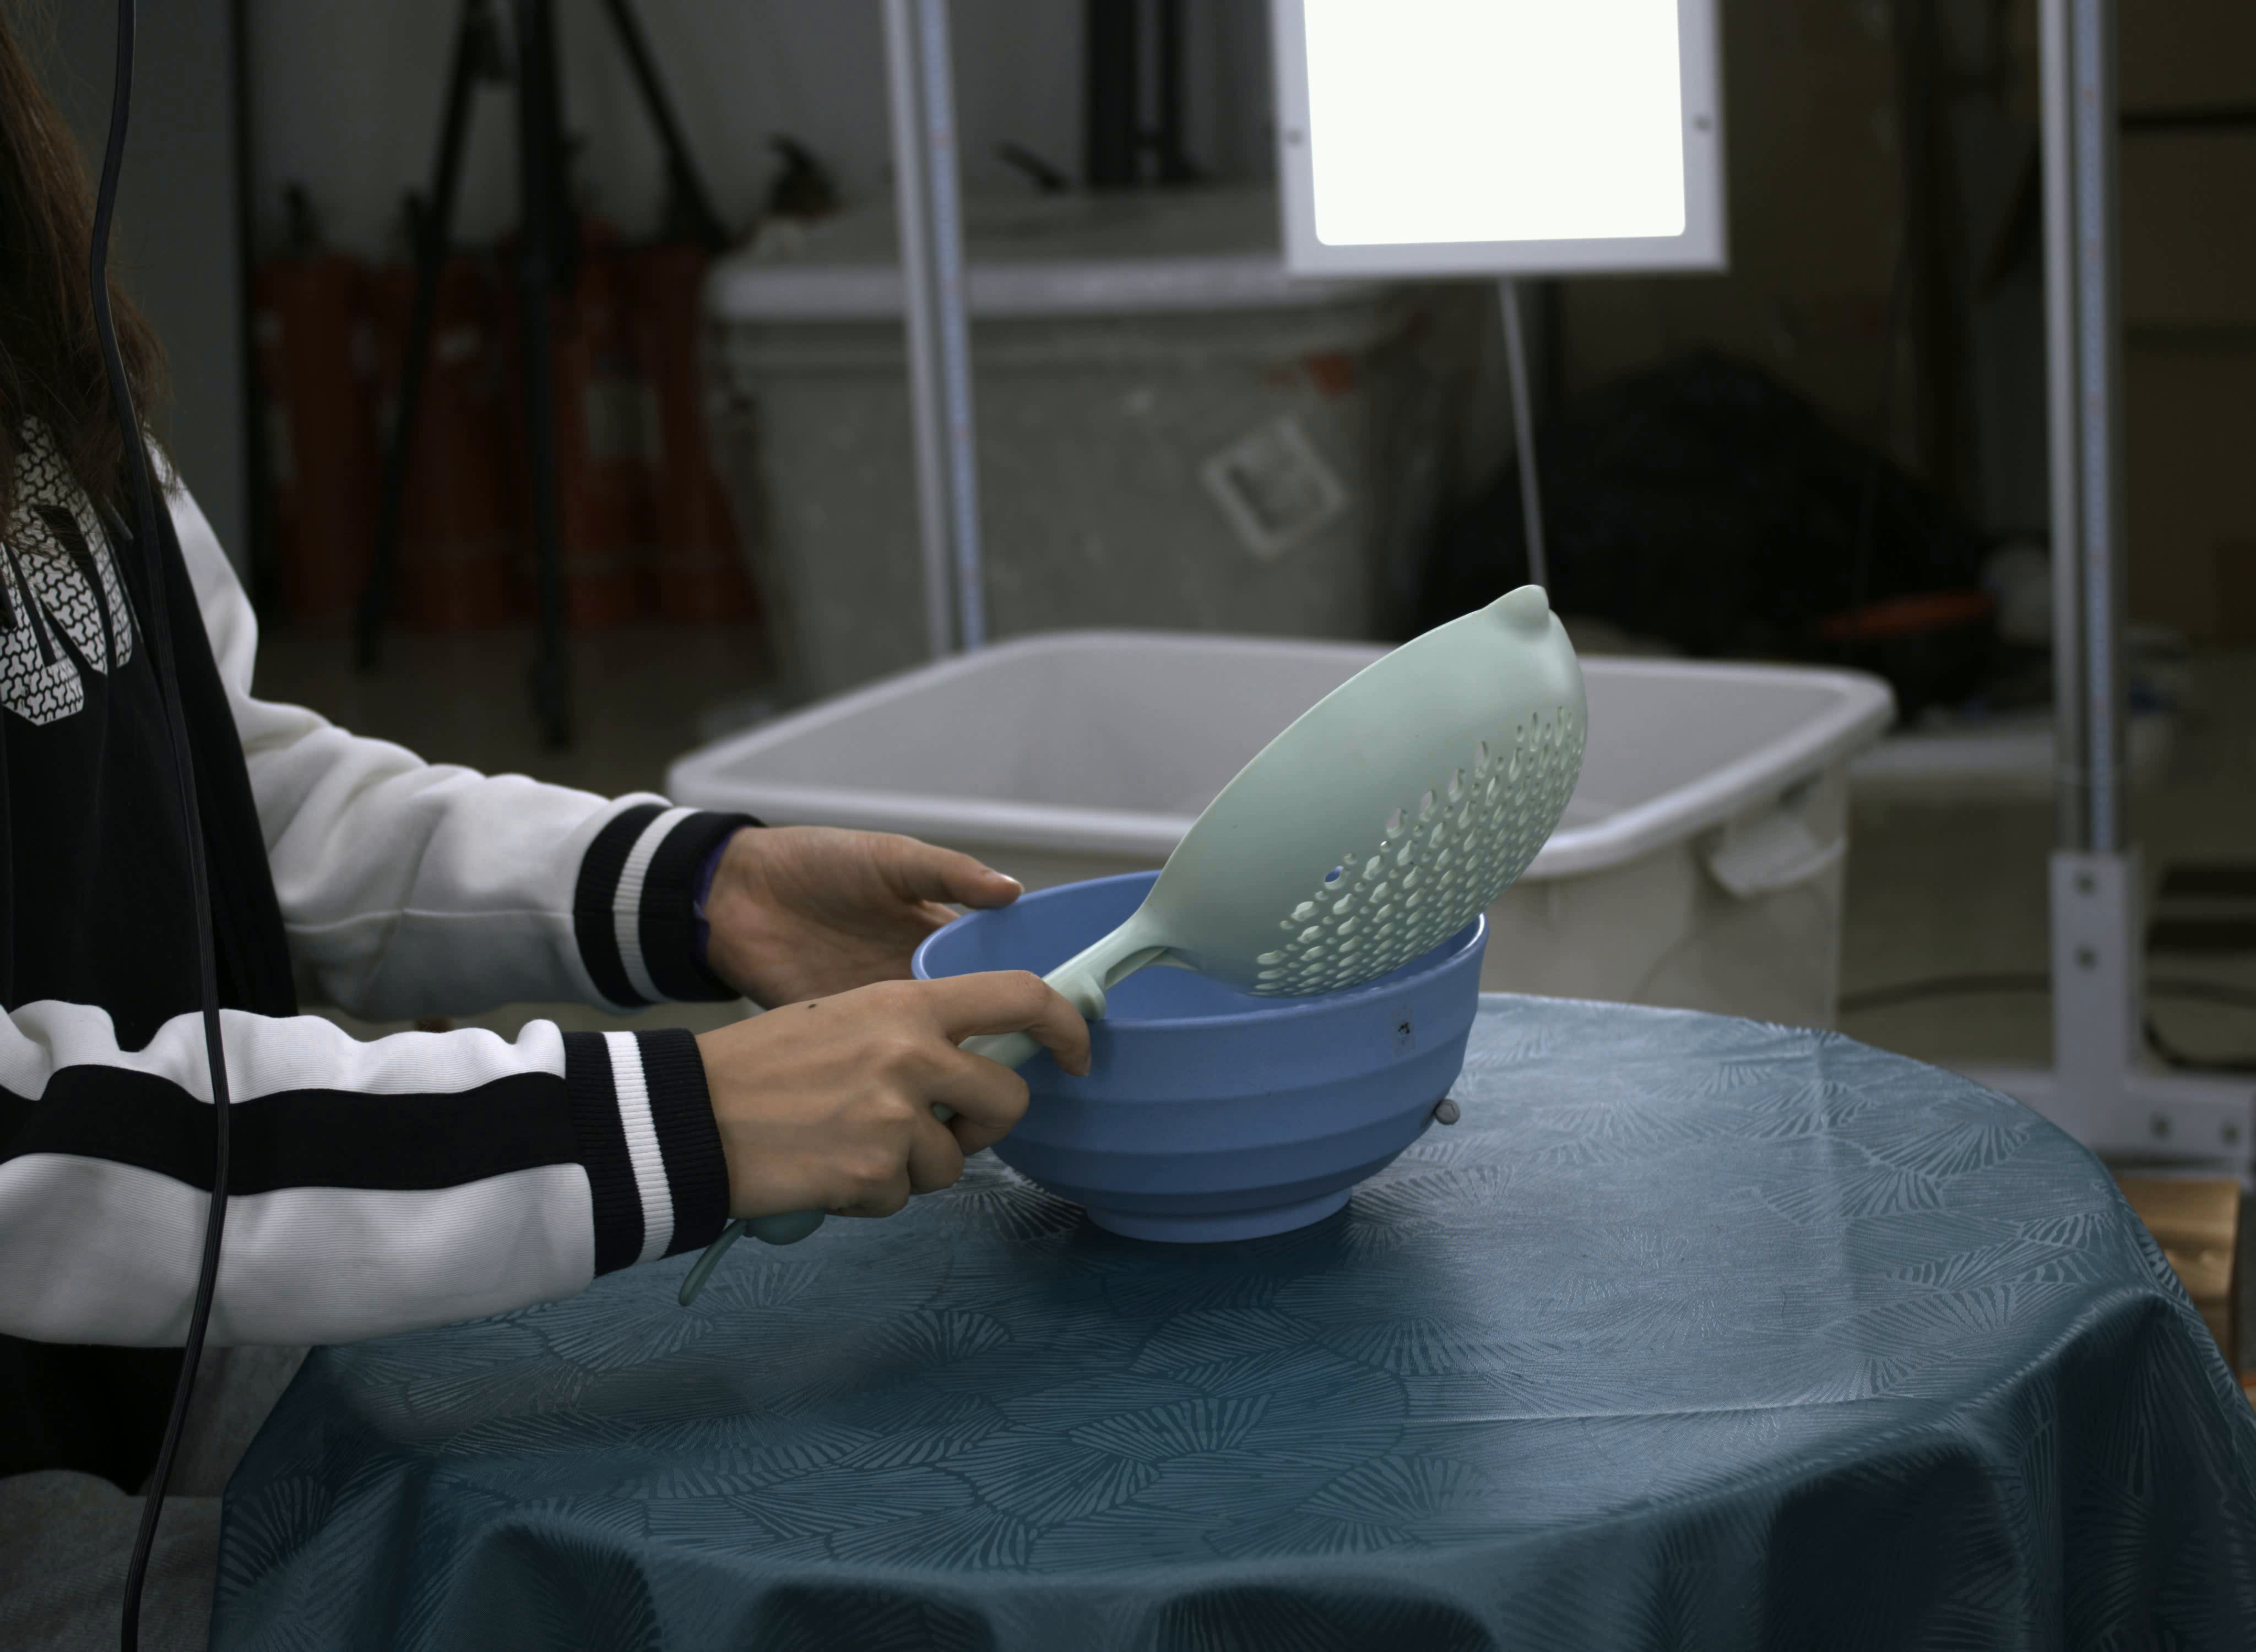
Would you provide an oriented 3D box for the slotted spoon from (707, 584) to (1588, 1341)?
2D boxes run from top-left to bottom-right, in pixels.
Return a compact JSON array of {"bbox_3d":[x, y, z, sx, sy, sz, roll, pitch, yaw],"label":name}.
[{"bbox_3d":[0.006,0.049,1.768,0.355,0.076,0.170,-28,-21,-10],"label":"slotted spoon"}]

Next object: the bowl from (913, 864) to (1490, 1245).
[{"bbox_3d":[0.028,0.083,1.868,0.196,0.096,0.196,-5,14,0],"label":"bowl"}]
